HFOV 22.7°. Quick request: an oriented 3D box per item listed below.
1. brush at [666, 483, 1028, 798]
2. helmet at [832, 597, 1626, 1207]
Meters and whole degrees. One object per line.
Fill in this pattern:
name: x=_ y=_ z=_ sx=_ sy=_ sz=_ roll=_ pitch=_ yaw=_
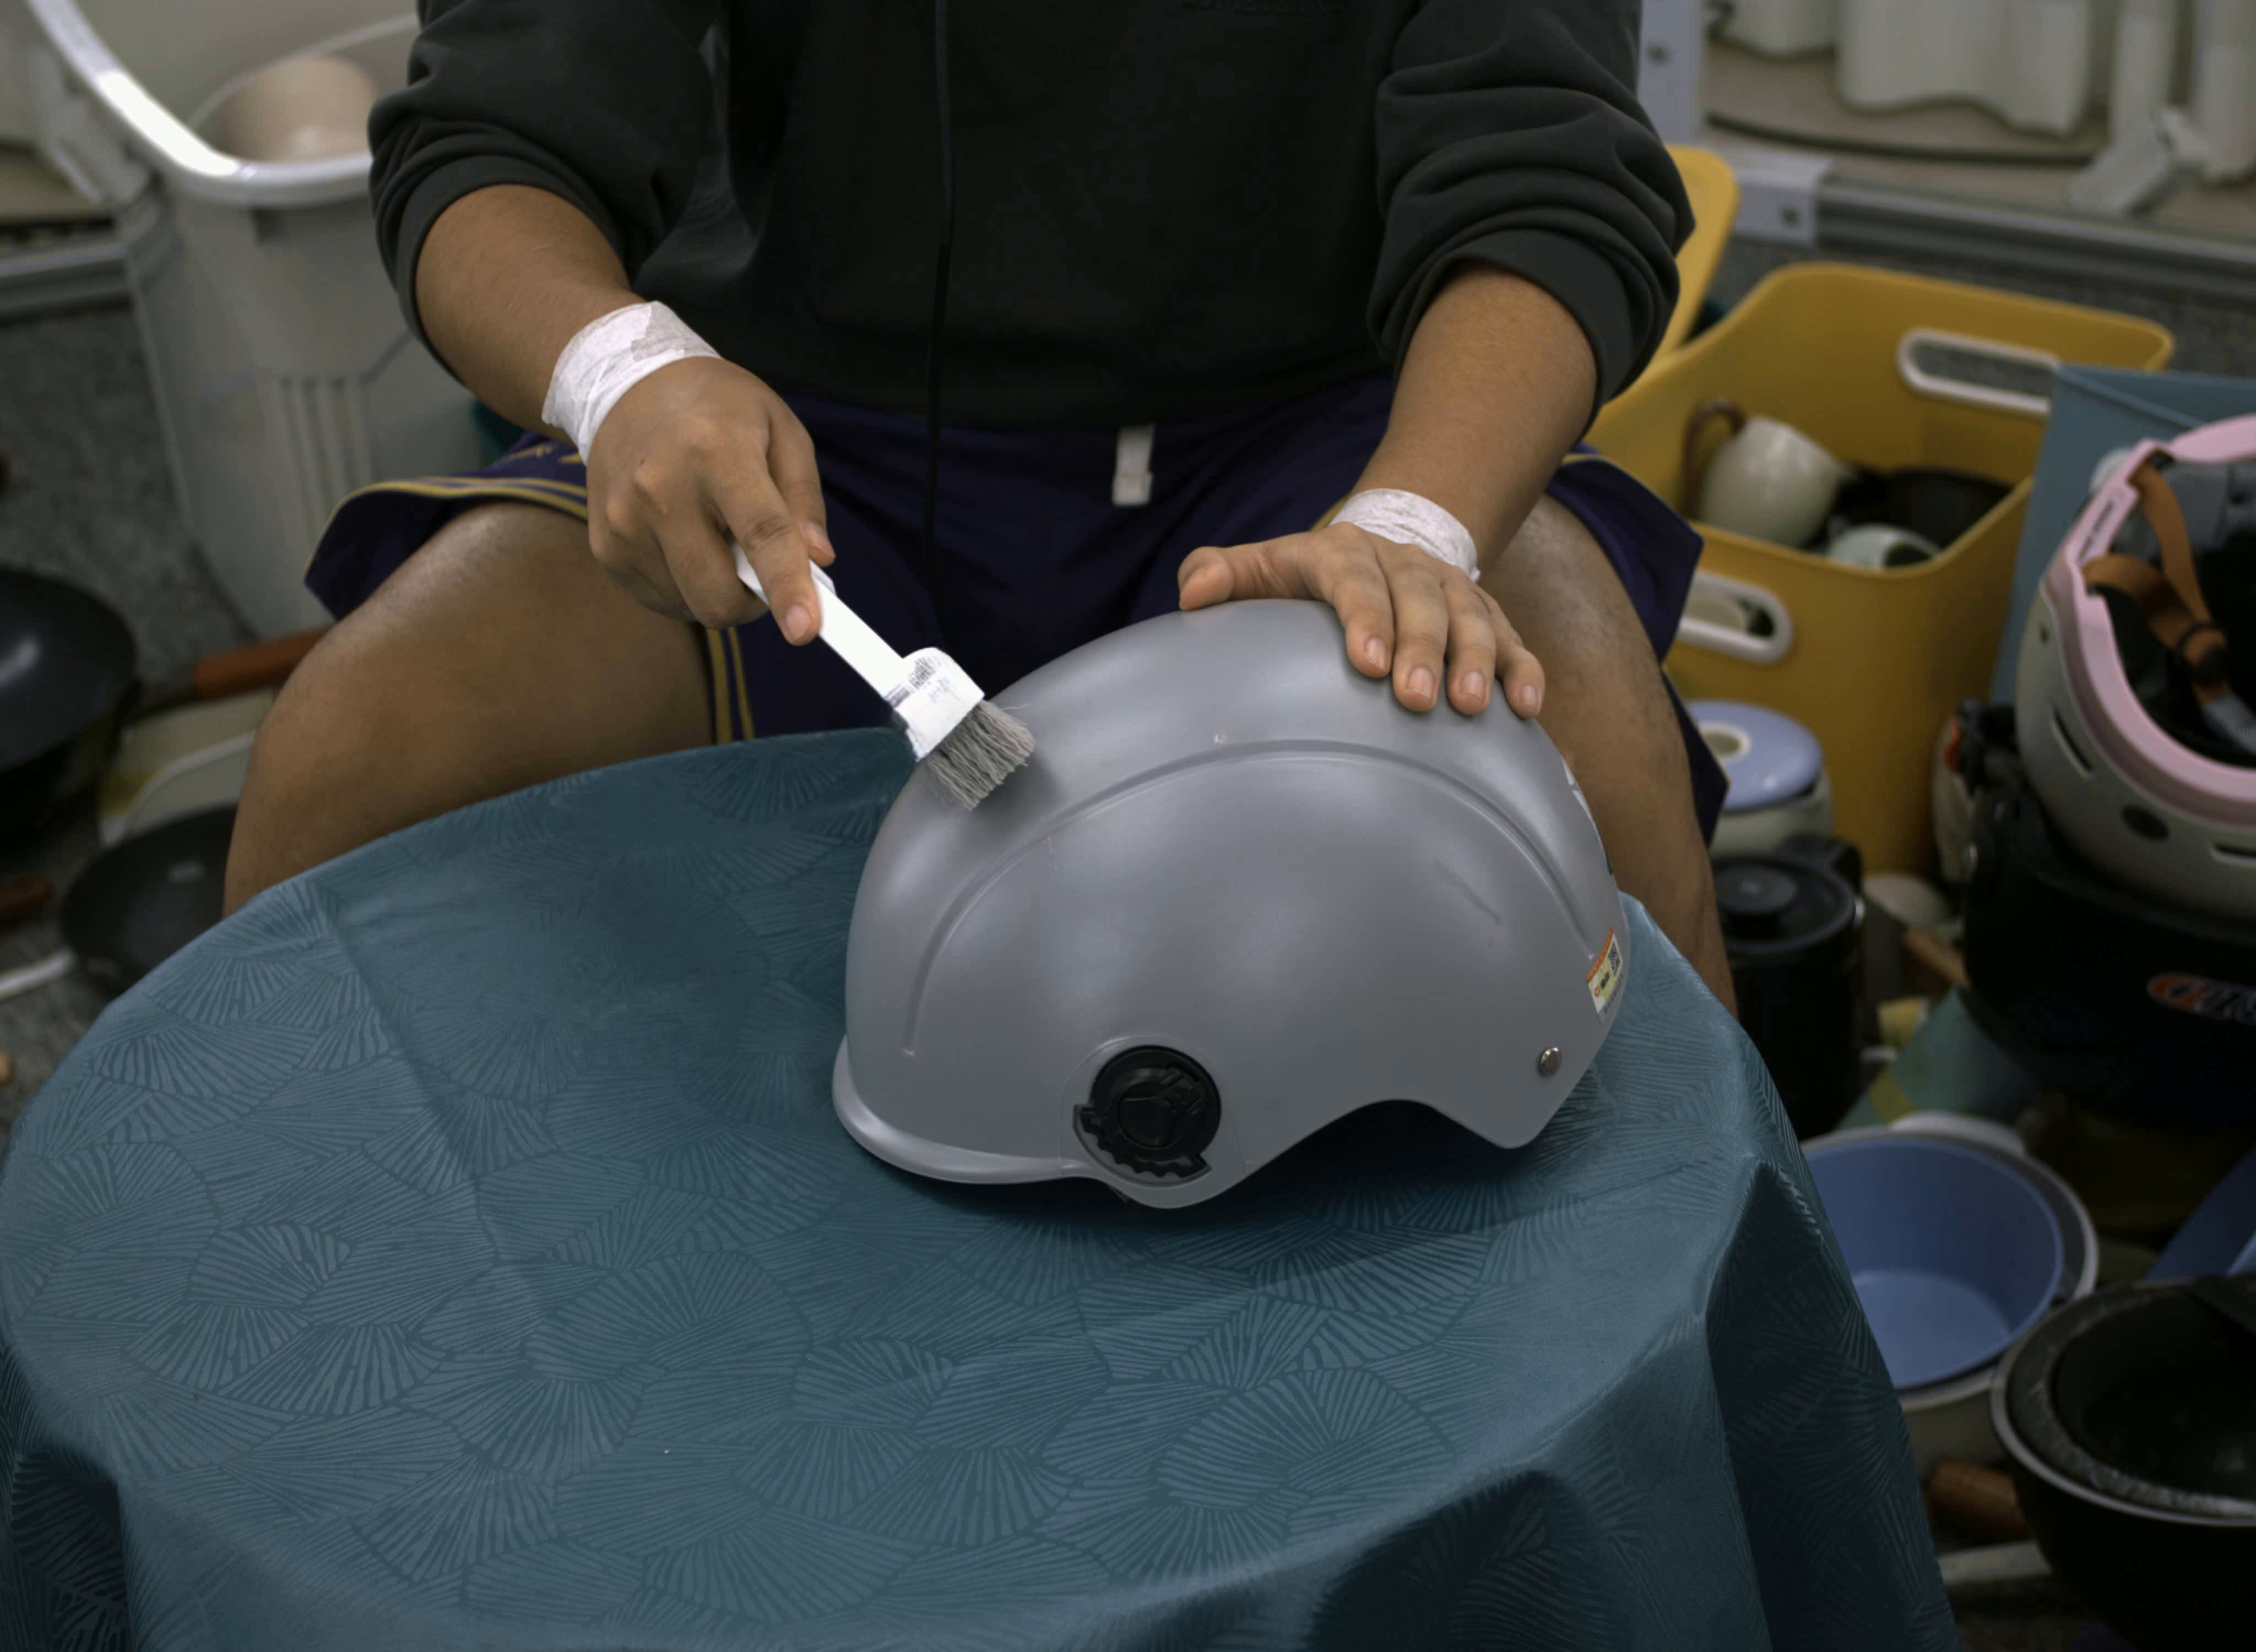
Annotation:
brush: x=-0.096 y=-0.064 z=1.918 sx=0.034 sy=0.050 sz=0.244 roll=-45 pitch=32 yaw=-4
helmet: x=0.029 y=0.011 z=1.901 sx=0.275 sy=0.167 sz=0.235 roll=-6 pitch=25 yaw=-2
